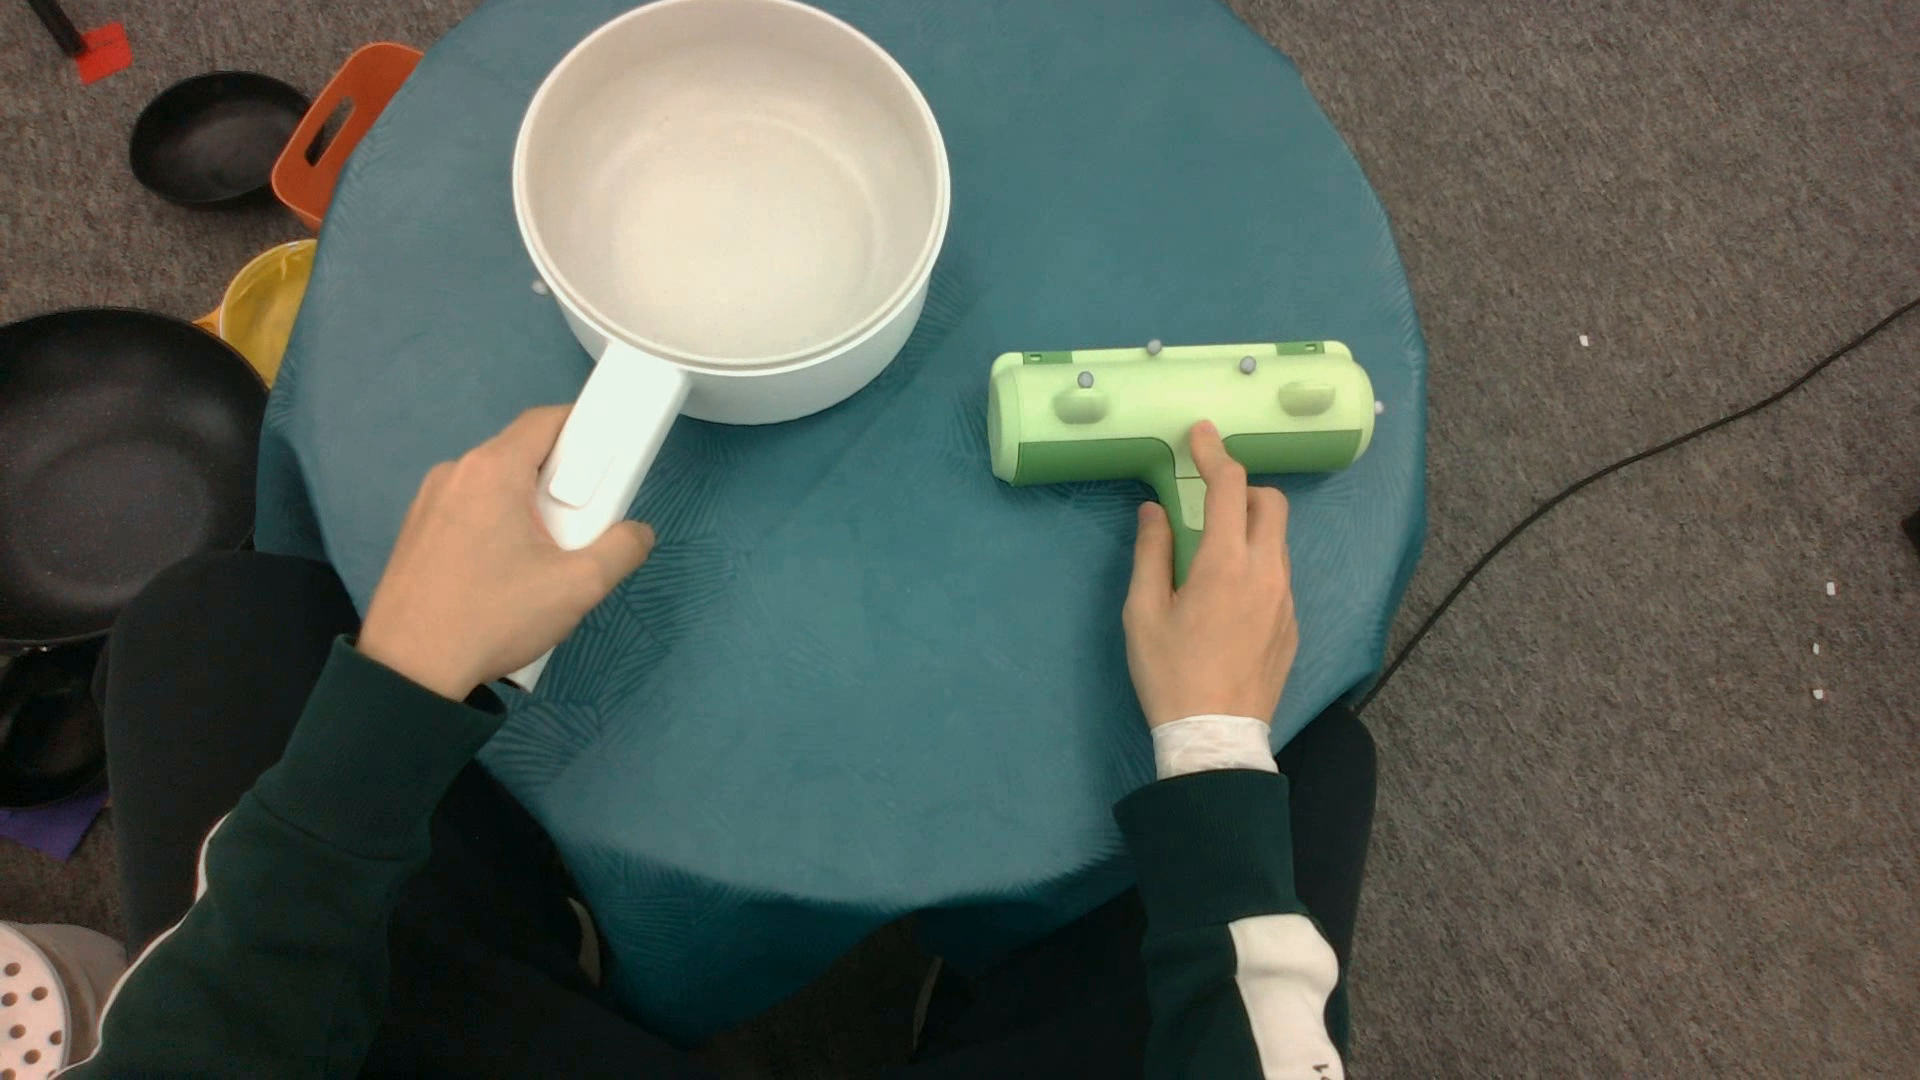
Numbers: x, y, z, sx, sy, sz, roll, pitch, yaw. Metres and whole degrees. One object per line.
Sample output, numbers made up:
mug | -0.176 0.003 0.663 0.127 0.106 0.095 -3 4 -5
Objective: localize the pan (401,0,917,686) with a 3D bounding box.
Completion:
pan | -0.153 -0.093 0.663 0.201 0.102 0.356 22 73 0

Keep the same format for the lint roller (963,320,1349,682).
lint roller | 0.109 -0.027 0.684 0.199 0.082 0.184 -4 65 -9
